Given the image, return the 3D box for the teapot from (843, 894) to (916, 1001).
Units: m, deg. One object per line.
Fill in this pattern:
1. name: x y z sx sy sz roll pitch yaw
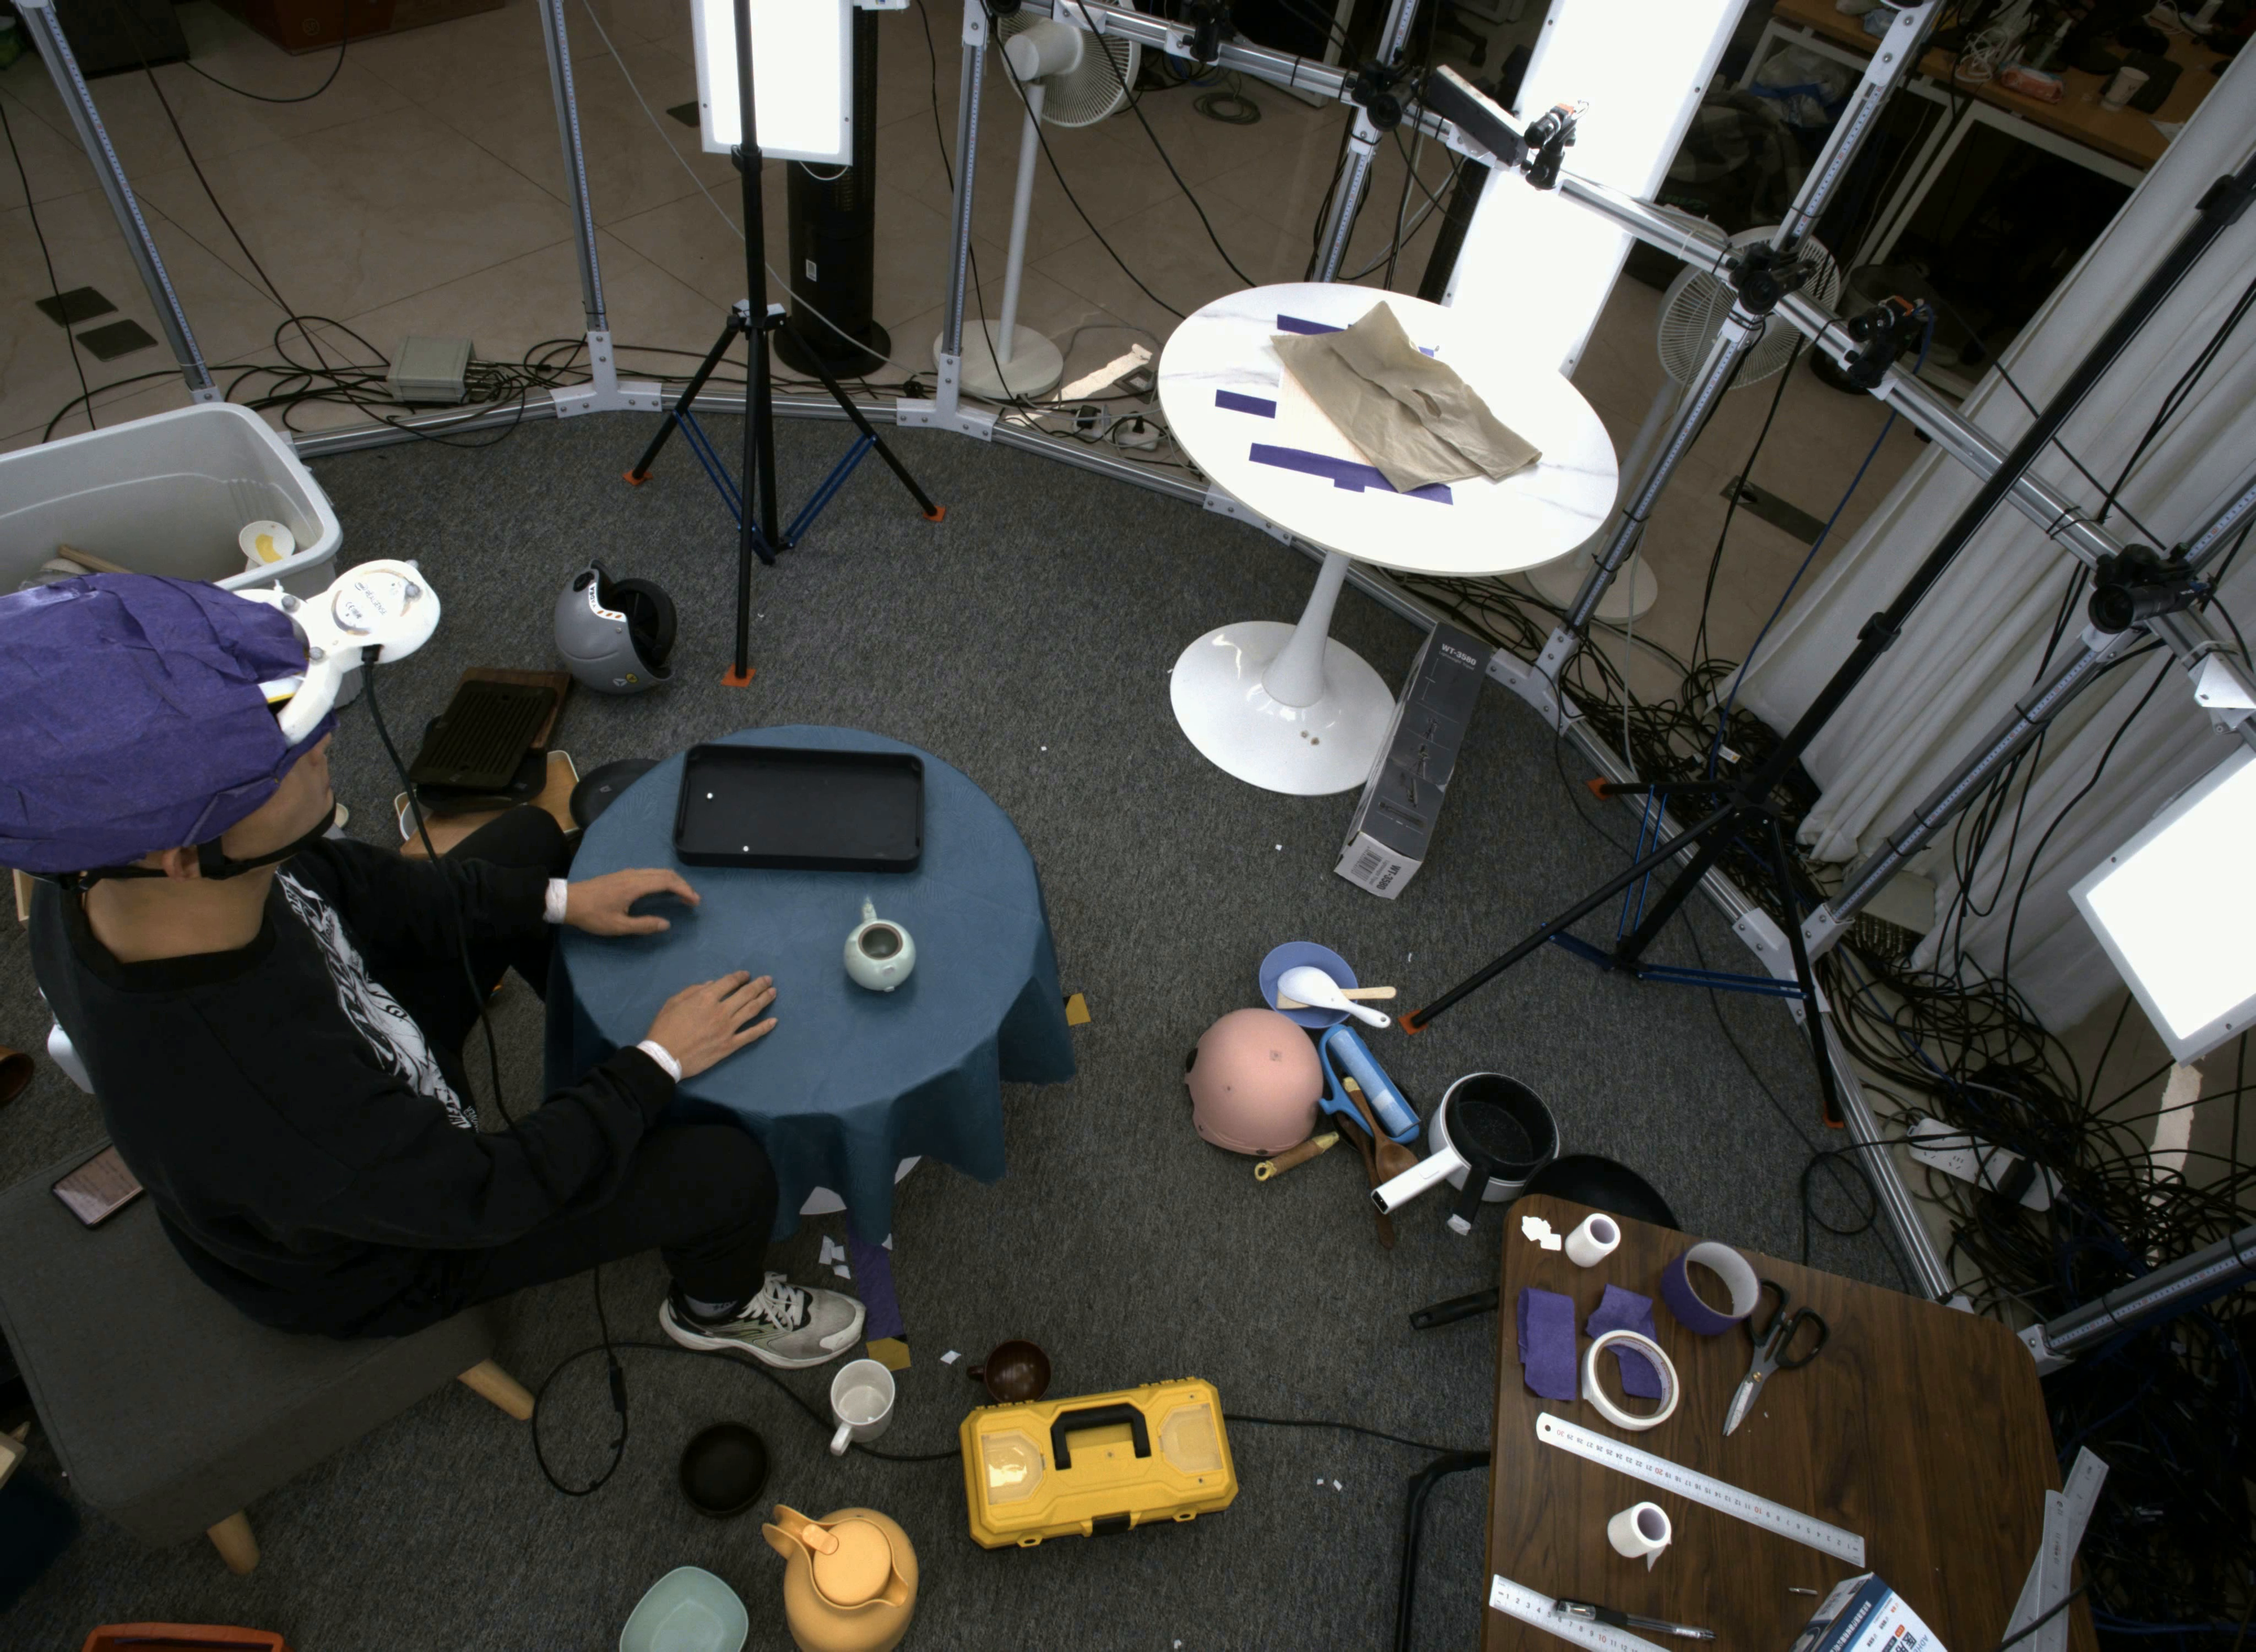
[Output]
1. teapot: -0.304 0.155 1.589 0.089 0.076 0.140 -12 56 -21

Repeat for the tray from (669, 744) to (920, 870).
1. tray: -0.437 -0.026 1.714 0.318 0.038 0.180 1 54 -14
